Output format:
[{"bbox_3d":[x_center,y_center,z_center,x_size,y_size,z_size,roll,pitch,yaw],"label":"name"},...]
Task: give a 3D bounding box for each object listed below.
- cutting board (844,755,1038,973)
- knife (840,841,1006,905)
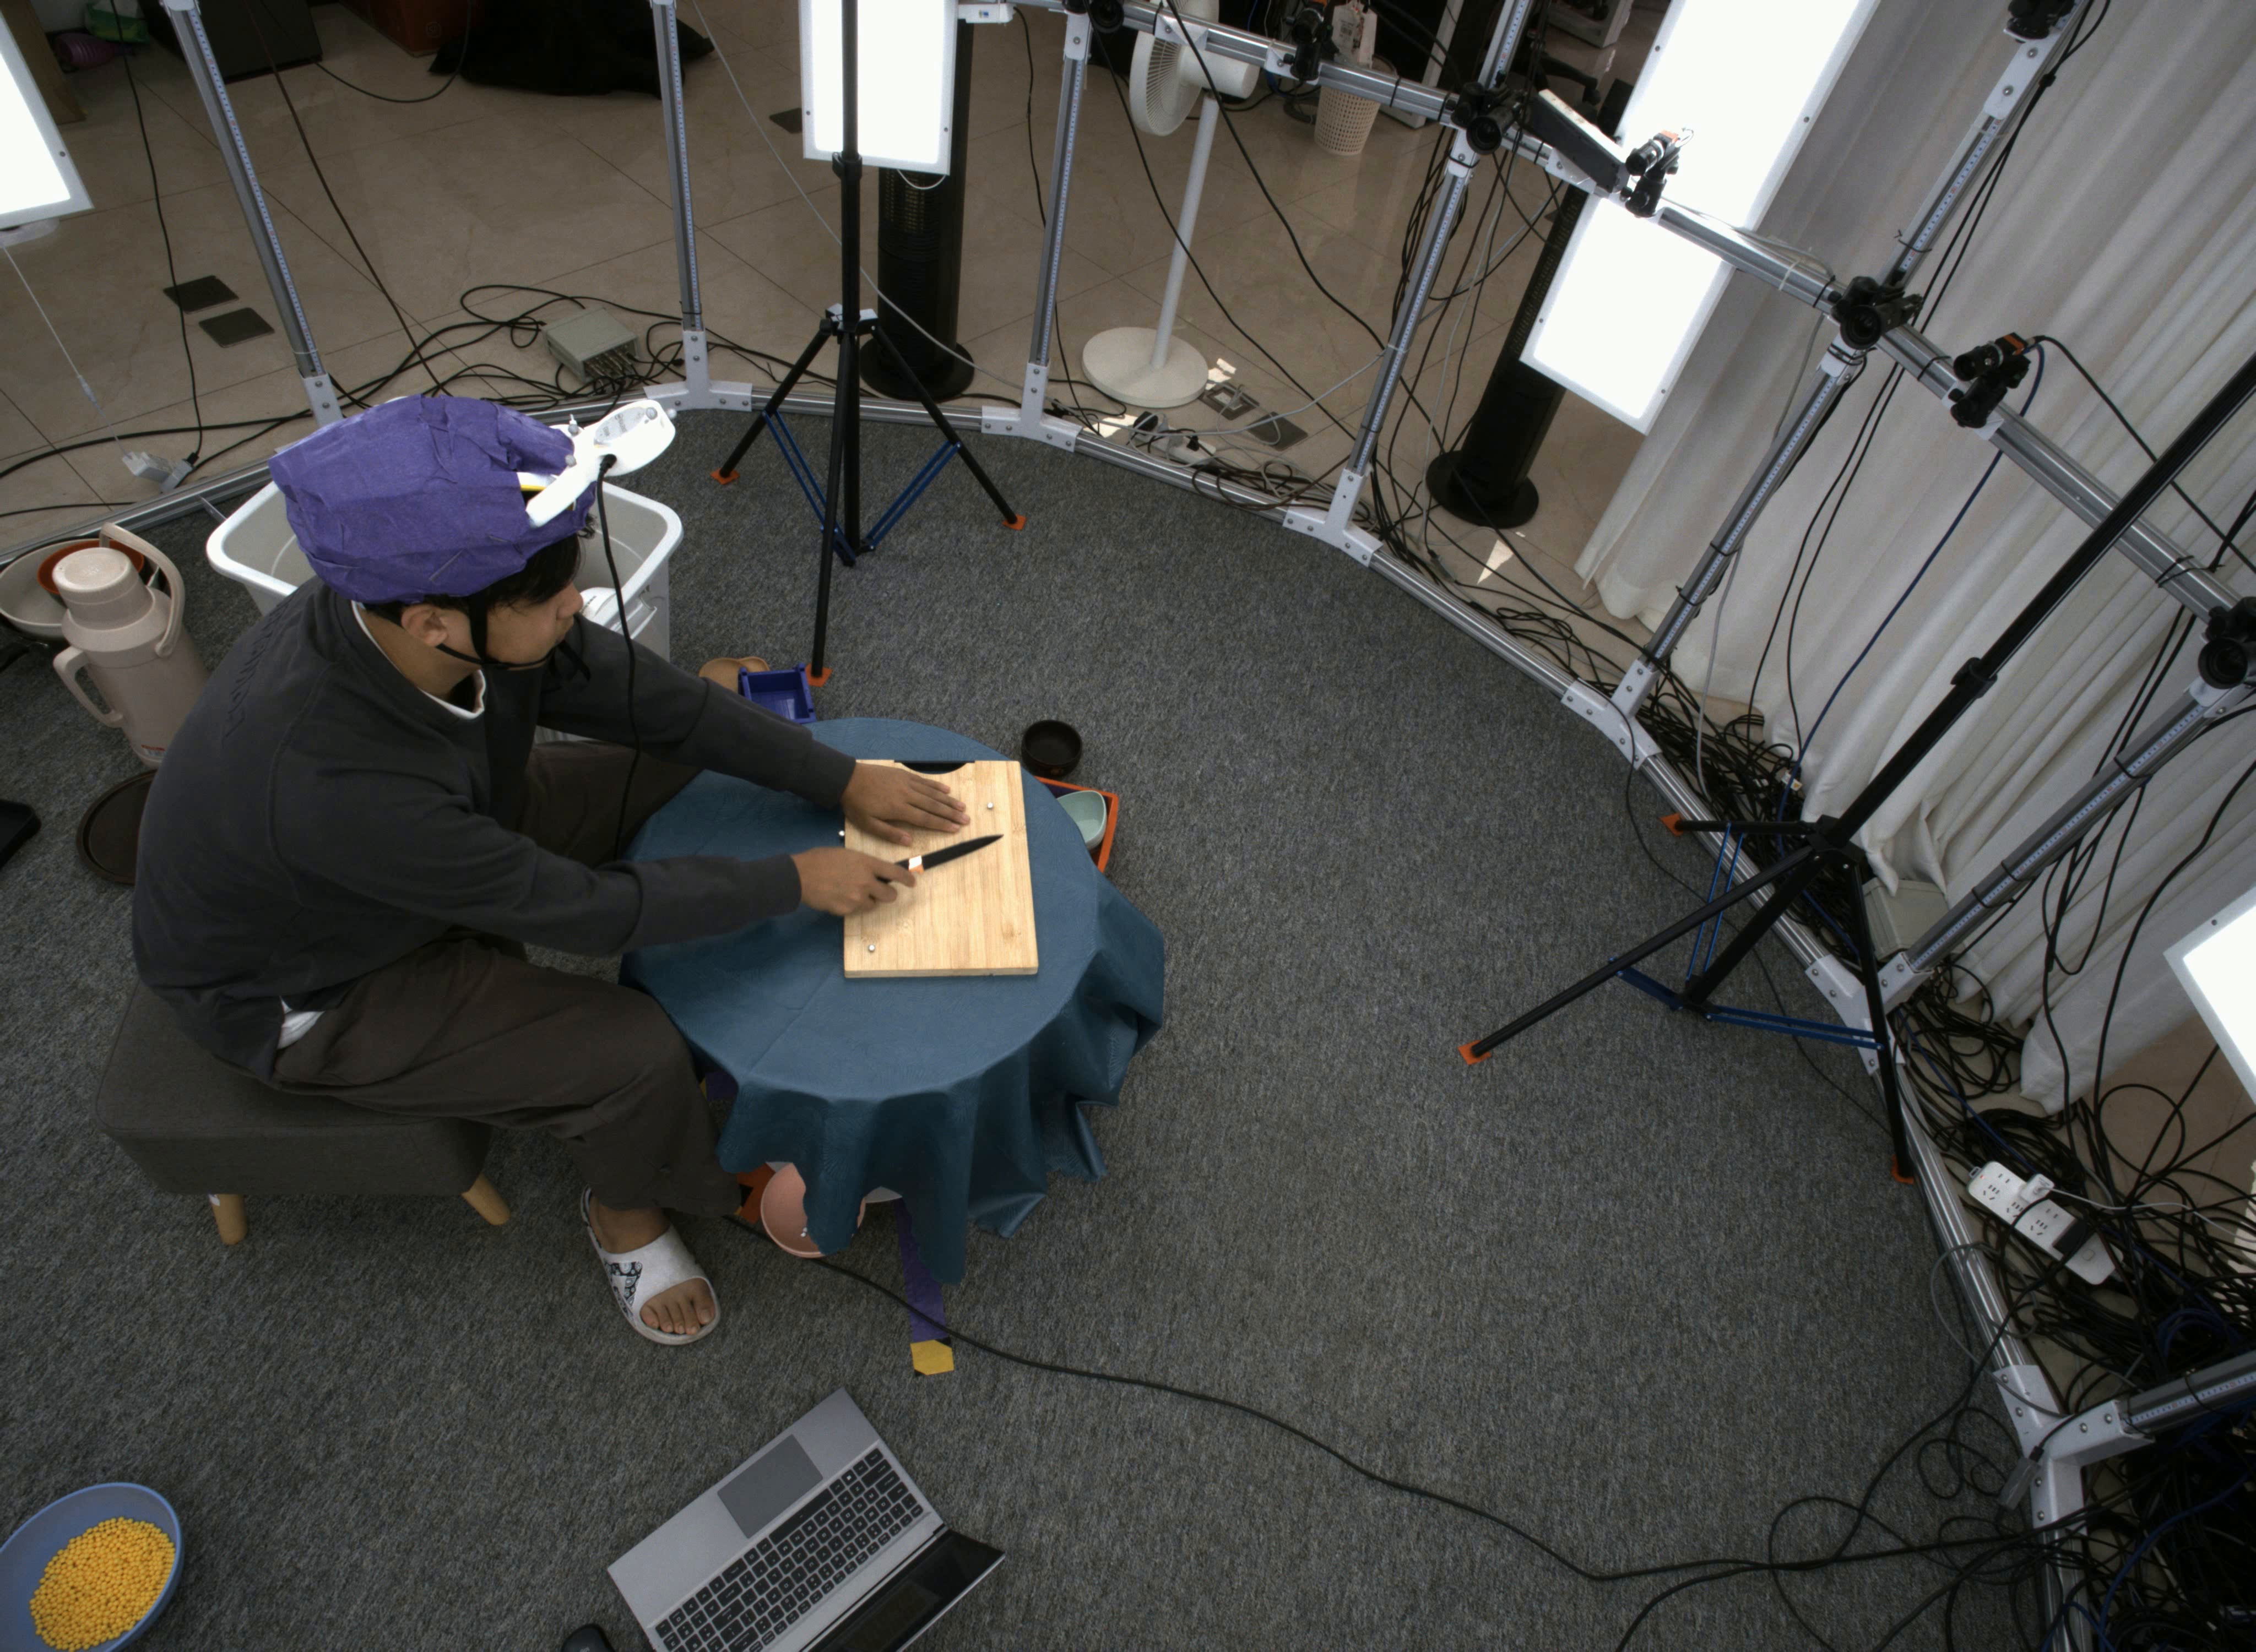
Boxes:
[{"bbox_3d":[-0.250,0.044,1.721,0.251,0.024,0.341,0,54,-14],"label":"cutting board"},{"bbox_3d":[-0.257,0.053,1.648,0.226,0.027,0.016,-21,33,-23],"label":"knife"}]
